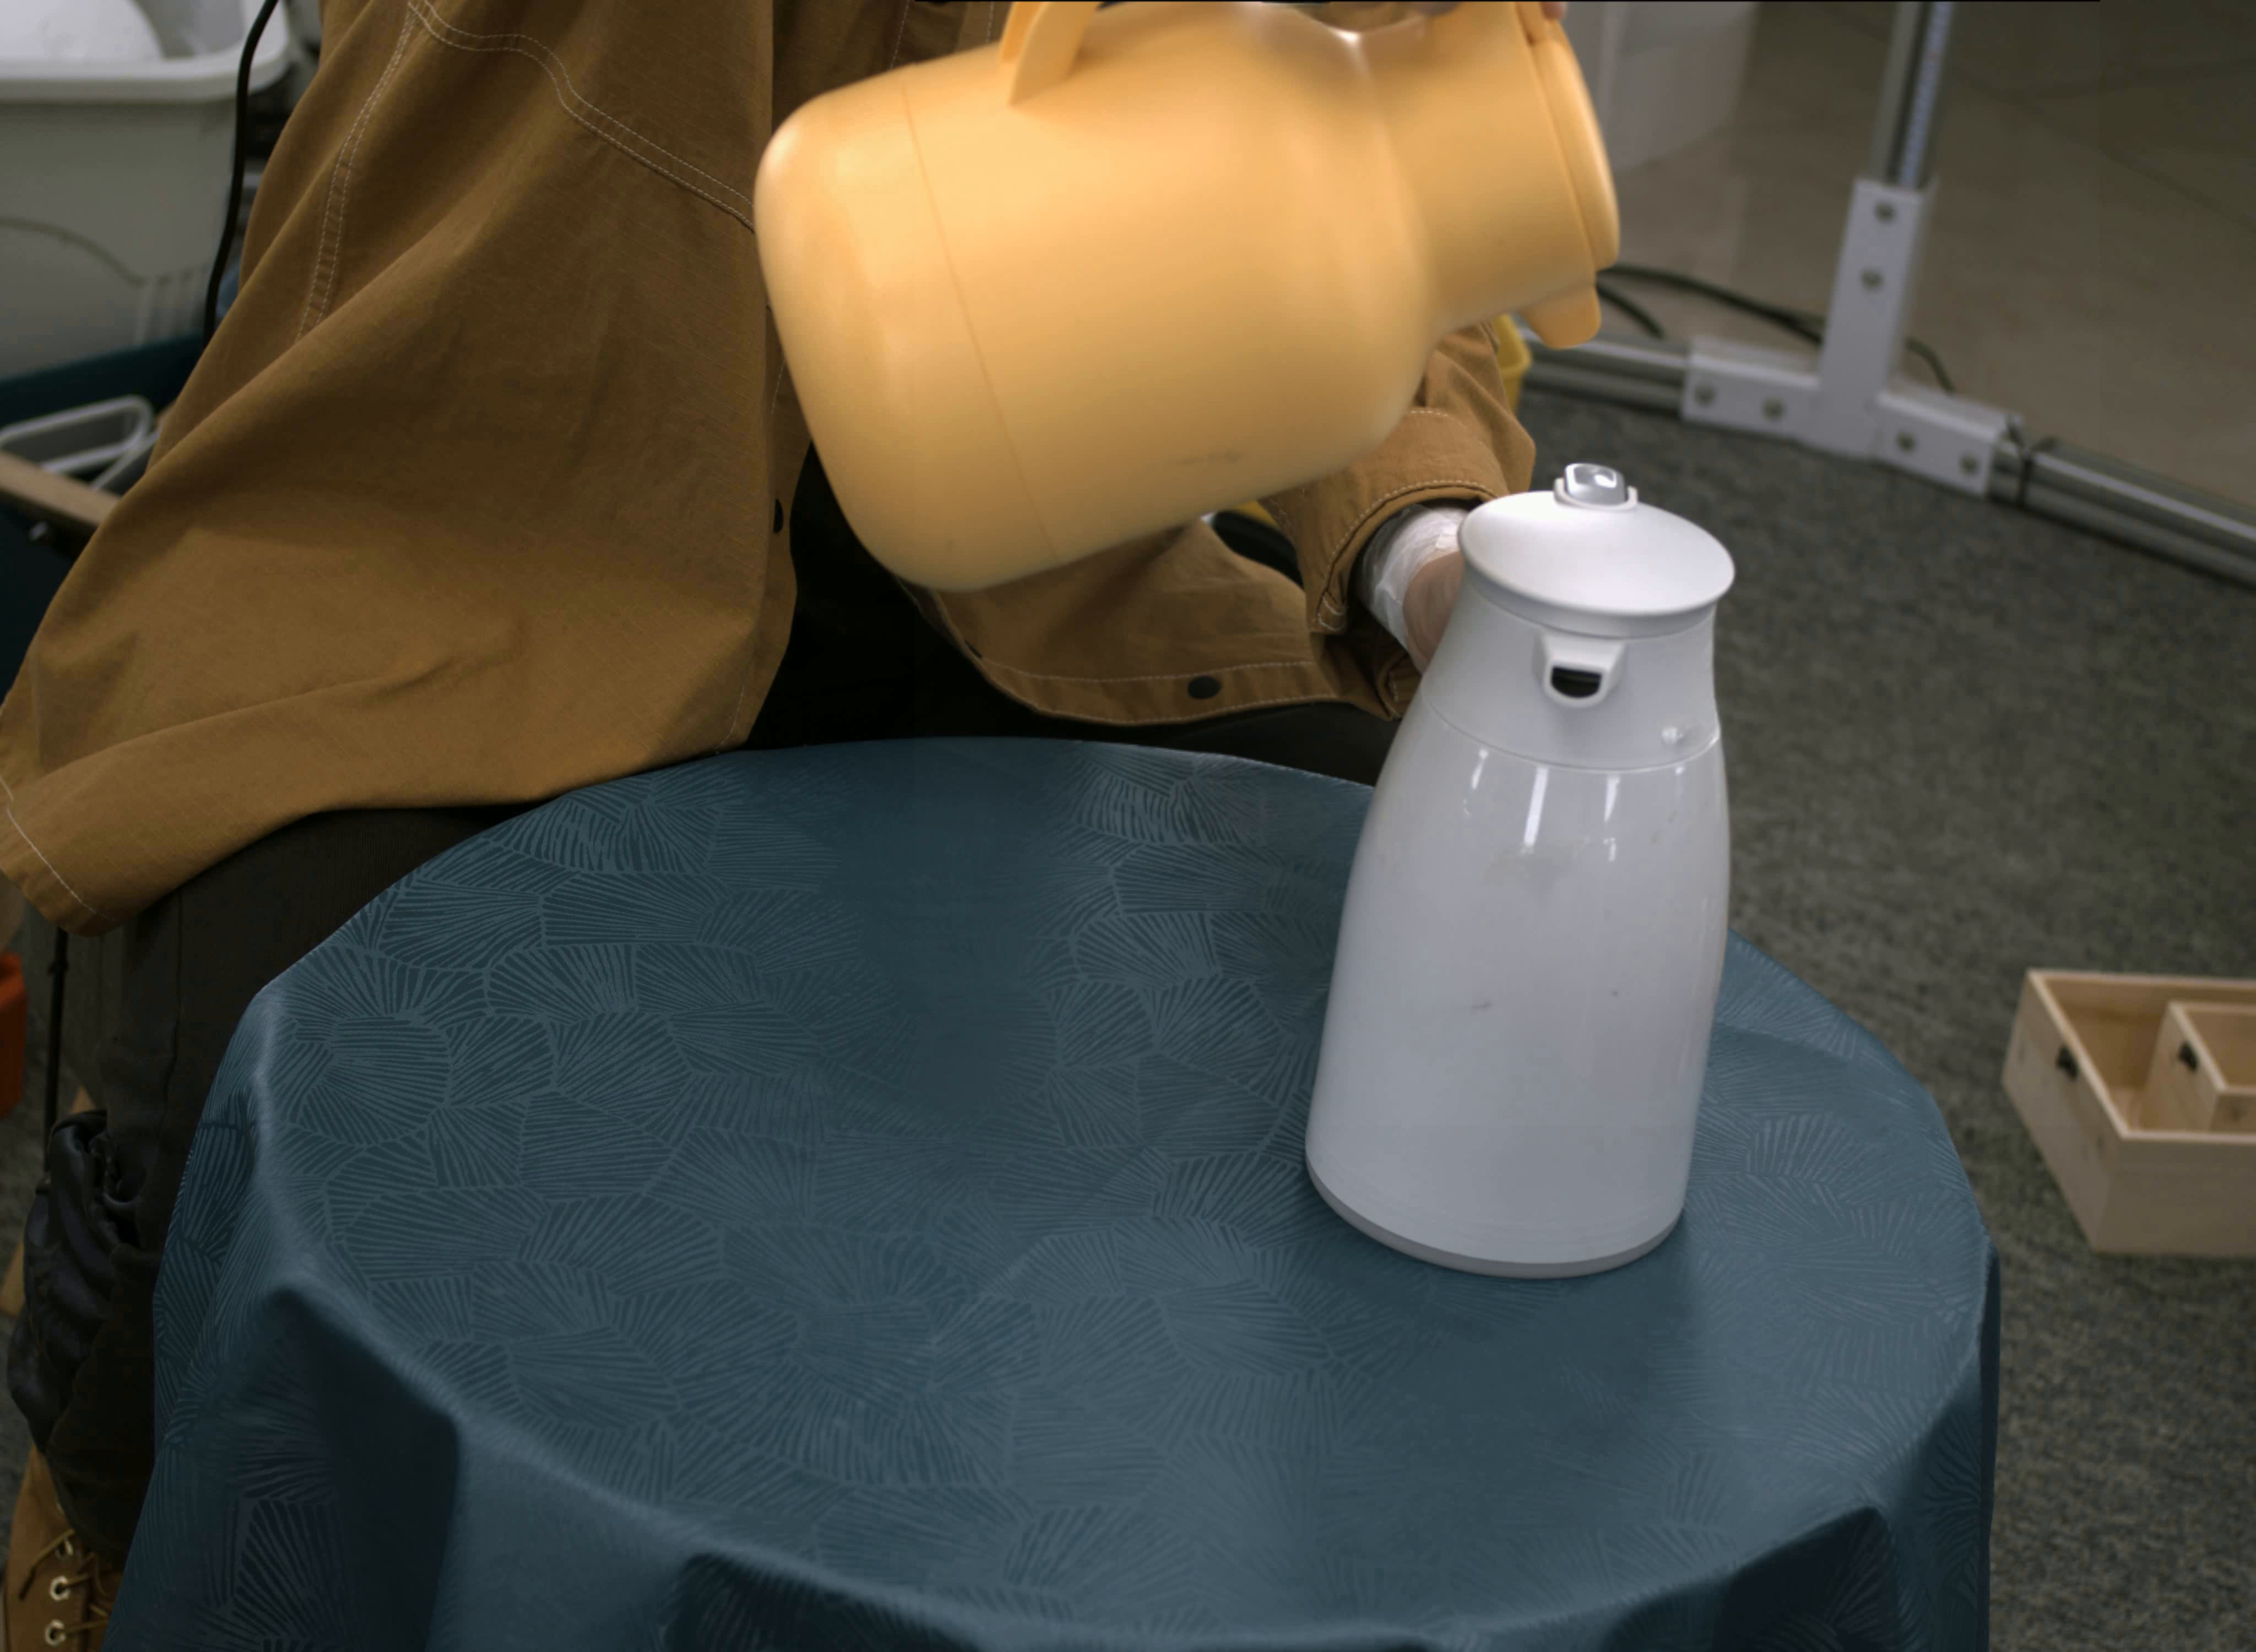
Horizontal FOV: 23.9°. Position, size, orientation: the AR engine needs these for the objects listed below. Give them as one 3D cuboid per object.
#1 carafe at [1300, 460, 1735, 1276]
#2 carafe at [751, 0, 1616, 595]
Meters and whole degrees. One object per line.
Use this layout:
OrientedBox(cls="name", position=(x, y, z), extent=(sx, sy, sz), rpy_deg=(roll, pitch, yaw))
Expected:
OrientedBox(cls="carafe", position=(0.140, 0.003, 1.800), extent=(0.132, 0.248, 0.168), rpy_deg=(9, 26, 4))
OrientedBox(cls="carafe", position=(0.015, -0.196, 1.653), extent=(0.260, 0.201, 0.165), rpy_deg=(-19, 36, 2))
